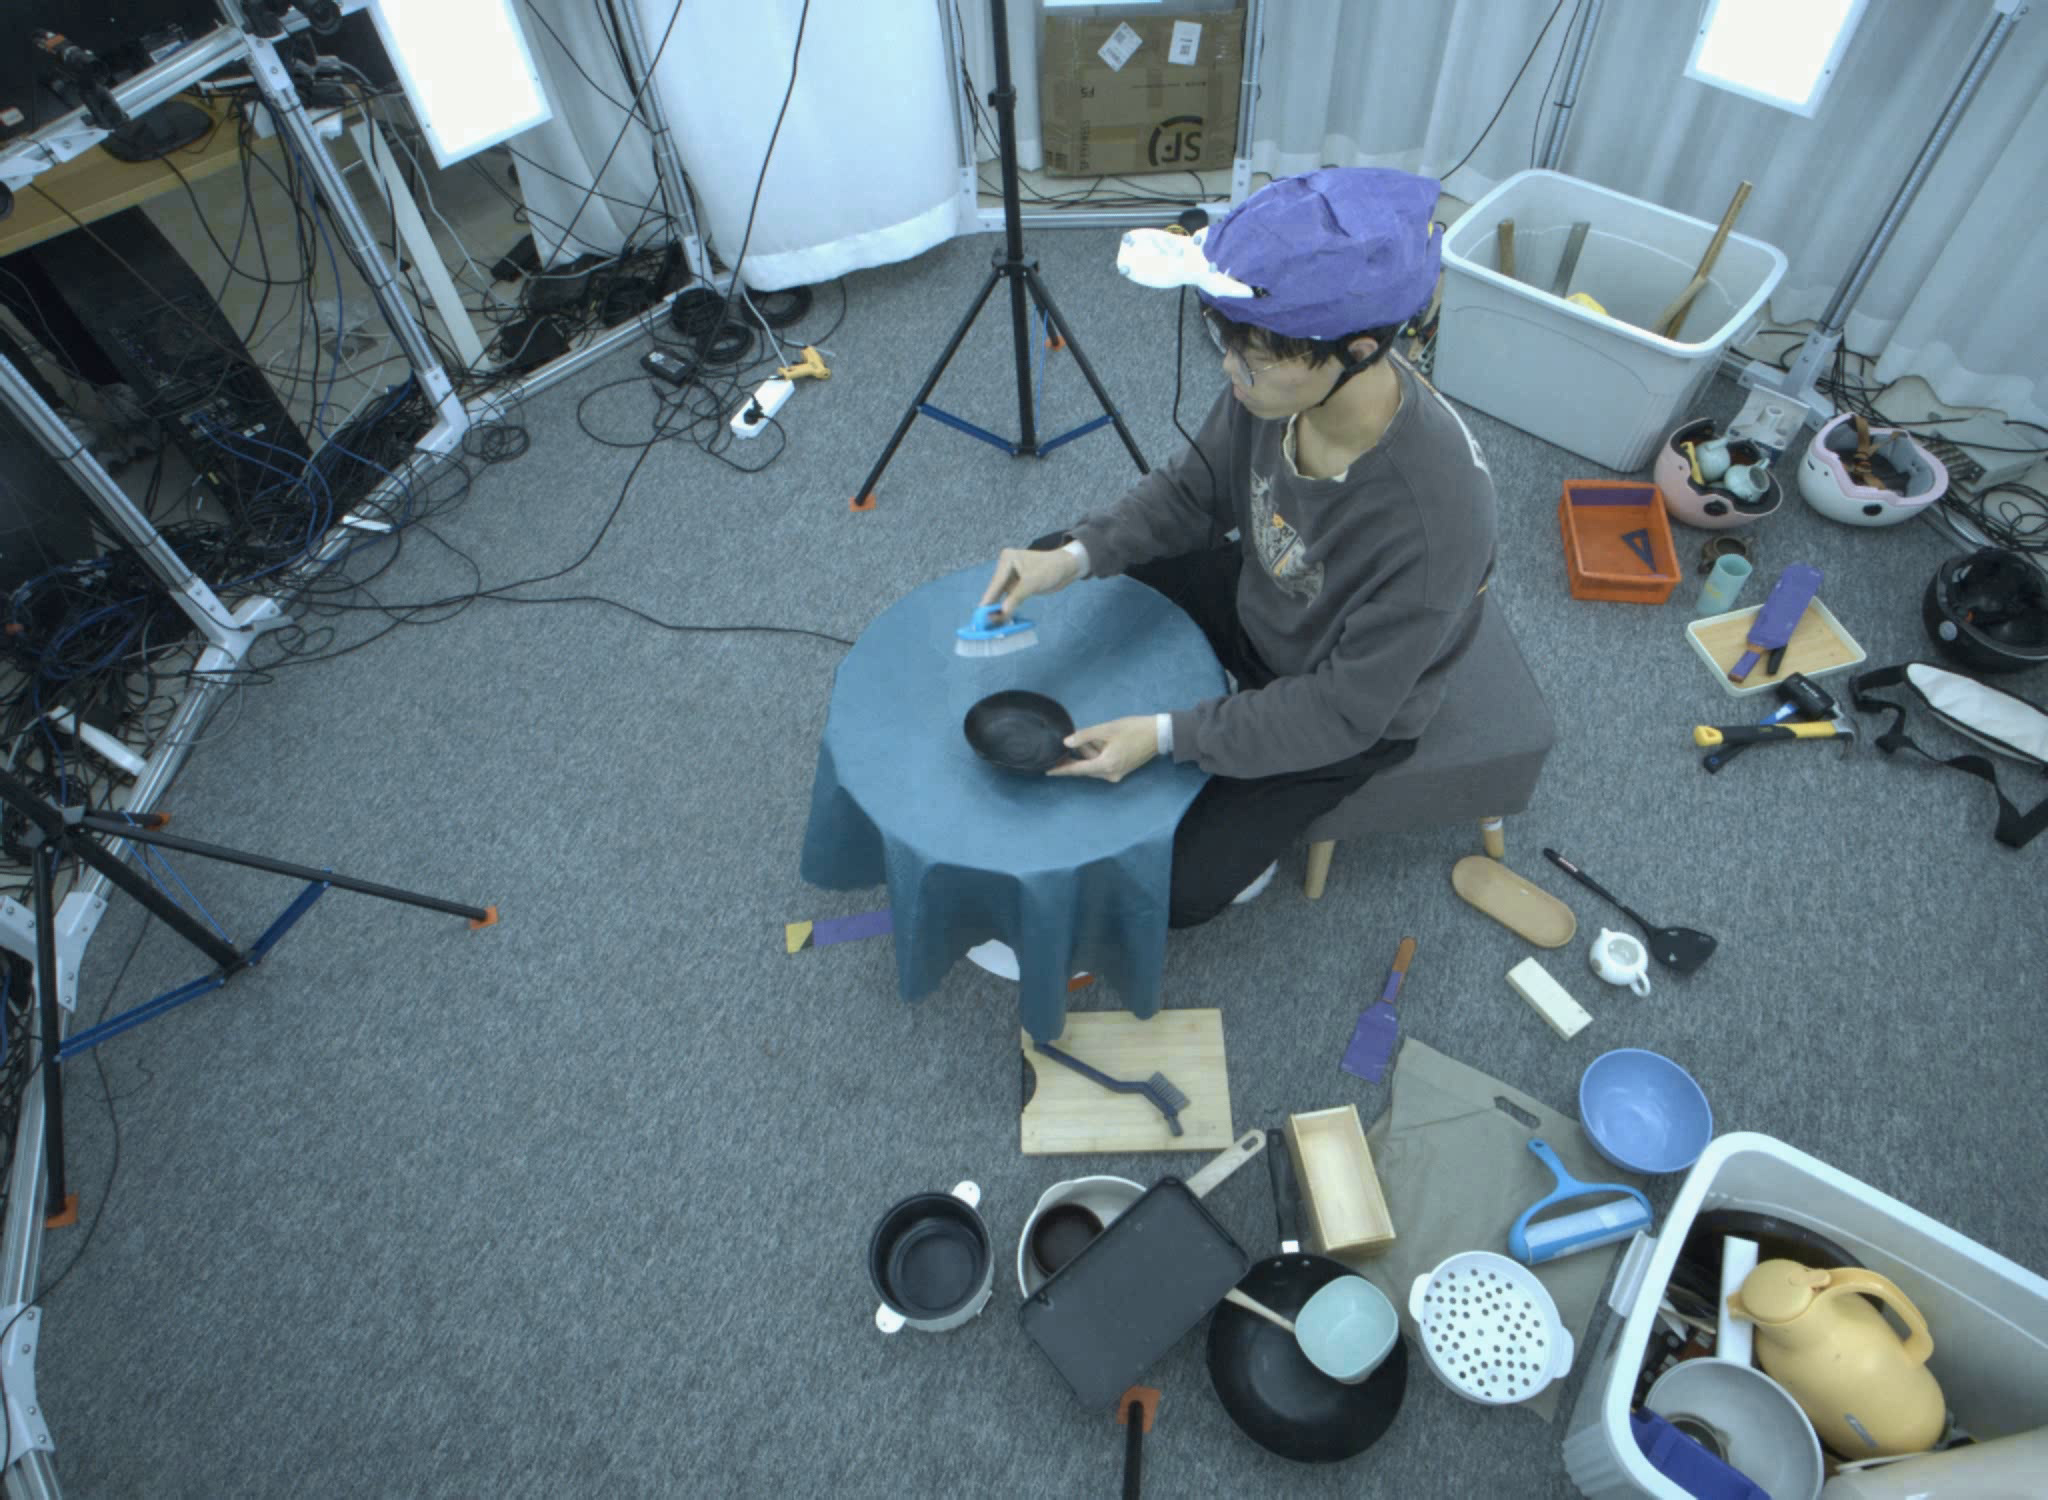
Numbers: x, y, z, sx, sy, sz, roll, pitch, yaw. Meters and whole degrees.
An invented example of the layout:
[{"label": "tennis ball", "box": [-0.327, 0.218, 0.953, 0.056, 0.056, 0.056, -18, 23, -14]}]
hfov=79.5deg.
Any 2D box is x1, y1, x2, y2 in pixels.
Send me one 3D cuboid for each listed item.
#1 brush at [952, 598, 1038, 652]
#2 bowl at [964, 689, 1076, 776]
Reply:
[{"label": "brush", "box": [-0.045, -0.180, 1.741, 0.082, 0.064, 0.144, 8, 18, 38]}, {"label": "bowl", "box": [-0.007, -0.014, 1.757, 0.168, 0.067, 0.137, 22, 57, 19]}]
